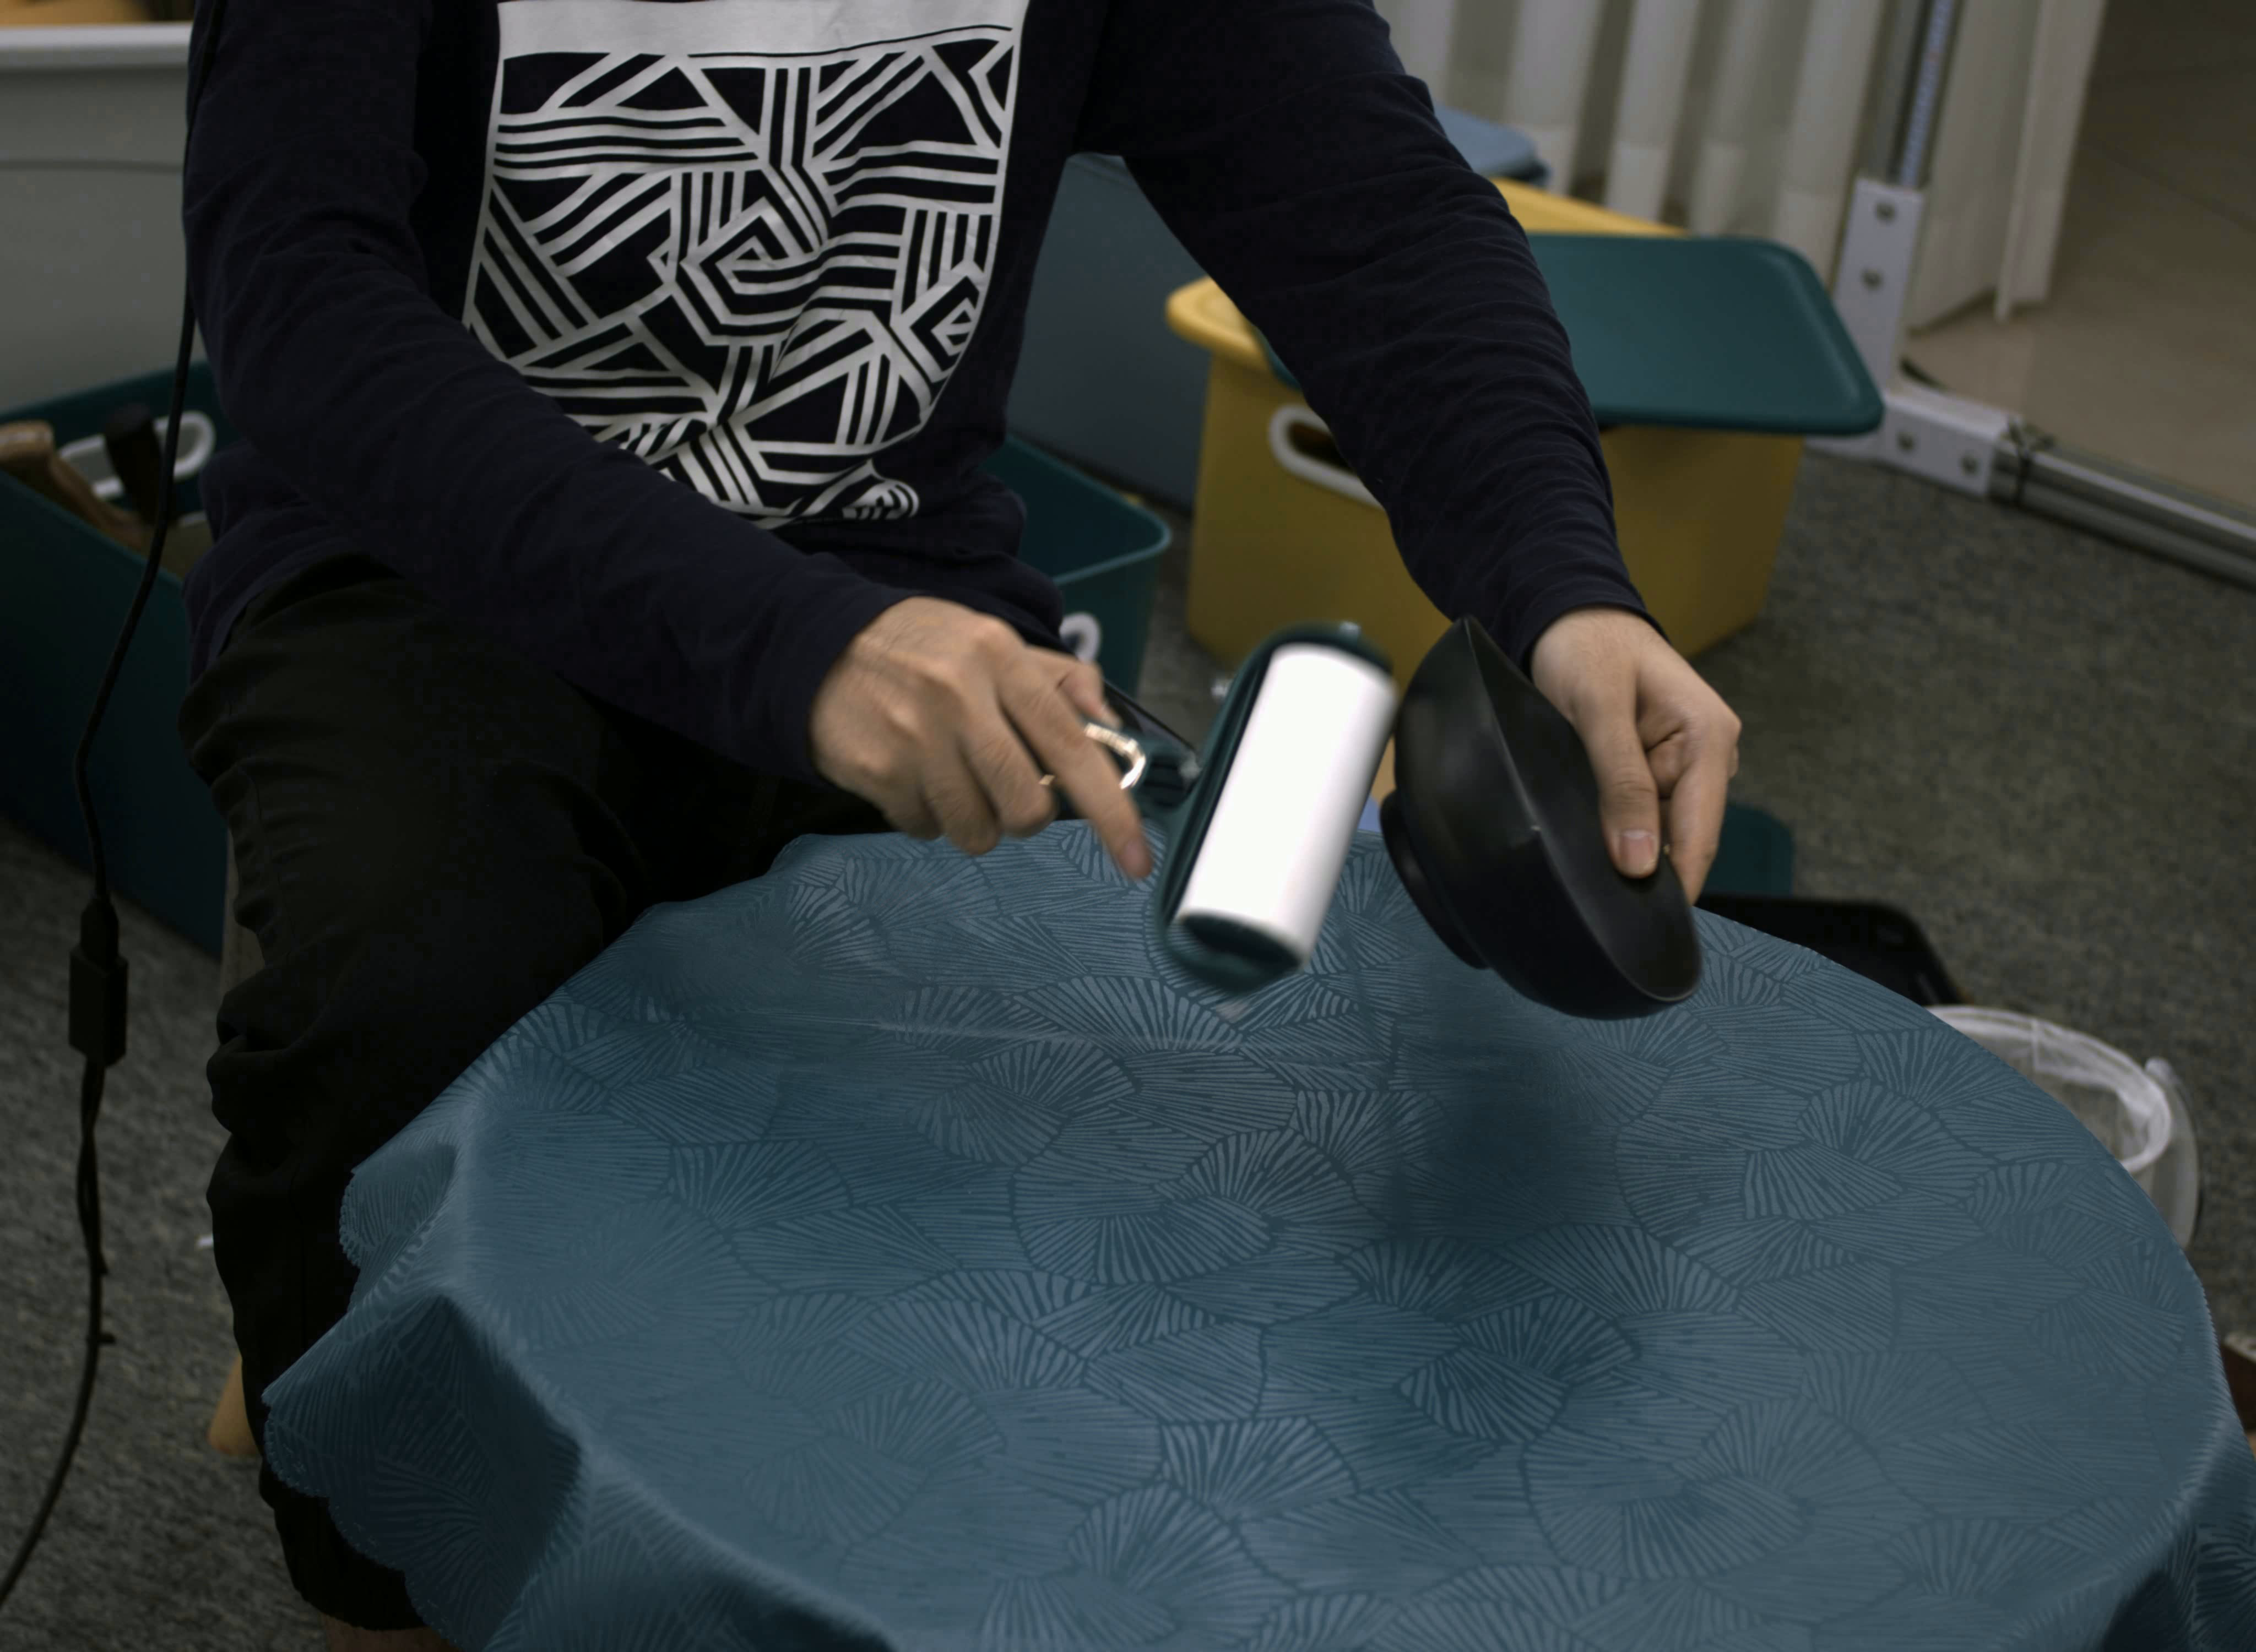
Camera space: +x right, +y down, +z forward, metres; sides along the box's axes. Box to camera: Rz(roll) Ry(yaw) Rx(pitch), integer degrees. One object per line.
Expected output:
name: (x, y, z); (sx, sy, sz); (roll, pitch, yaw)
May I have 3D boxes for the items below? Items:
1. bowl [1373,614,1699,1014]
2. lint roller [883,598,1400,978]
bowl: (0.127, 0.003, 1.802); (0.066, 0.136, 0.172); (-32, 37, 16)
lint roller: (-0.006, -0.025, 1.803); (0.180, 0.048, 0.135); (11, 69, 20)
